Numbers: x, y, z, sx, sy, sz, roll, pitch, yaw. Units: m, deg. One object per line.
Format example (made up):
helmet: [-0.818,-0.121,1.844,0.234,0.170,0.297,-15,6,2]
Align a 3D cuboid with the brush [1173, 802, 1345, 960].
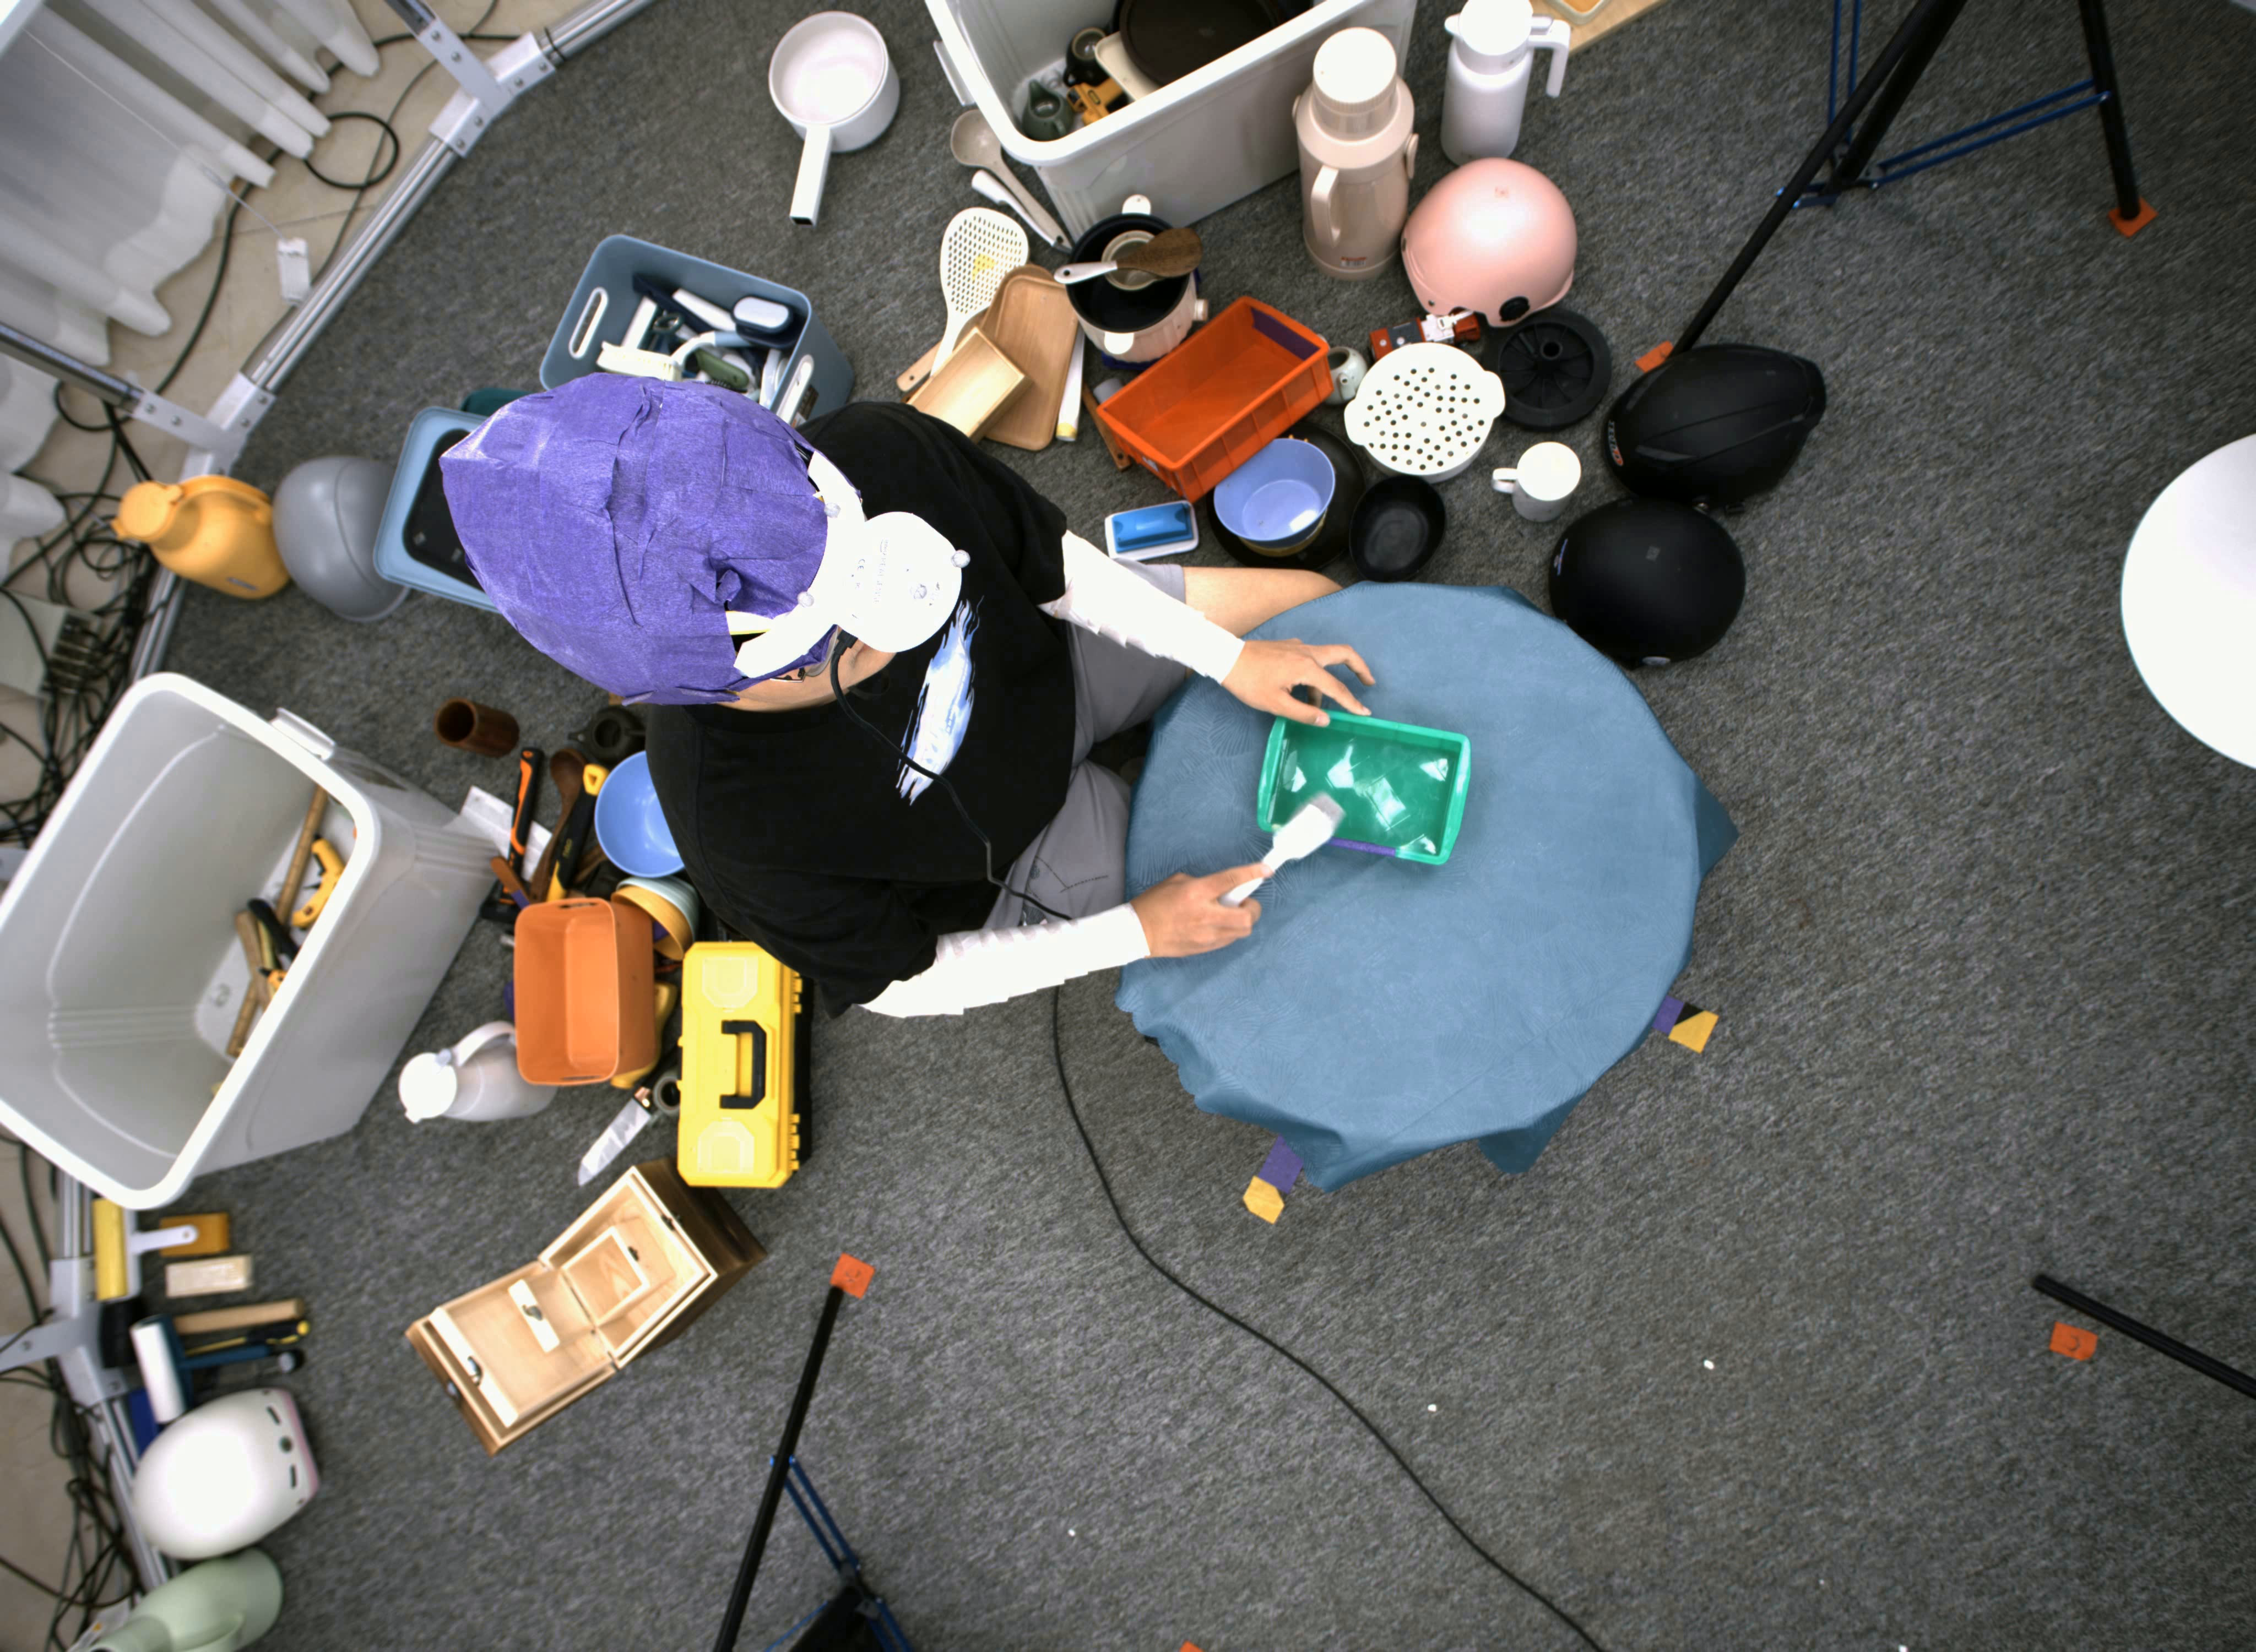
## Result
brush: [0.131,0.057,1.432,0.034,0.049,0.249,40,125,-8]

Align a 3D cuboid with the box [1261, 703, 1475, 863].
box: [0.249,-0.045,1.436,0.211,0.065,0.139,10,92,10]
